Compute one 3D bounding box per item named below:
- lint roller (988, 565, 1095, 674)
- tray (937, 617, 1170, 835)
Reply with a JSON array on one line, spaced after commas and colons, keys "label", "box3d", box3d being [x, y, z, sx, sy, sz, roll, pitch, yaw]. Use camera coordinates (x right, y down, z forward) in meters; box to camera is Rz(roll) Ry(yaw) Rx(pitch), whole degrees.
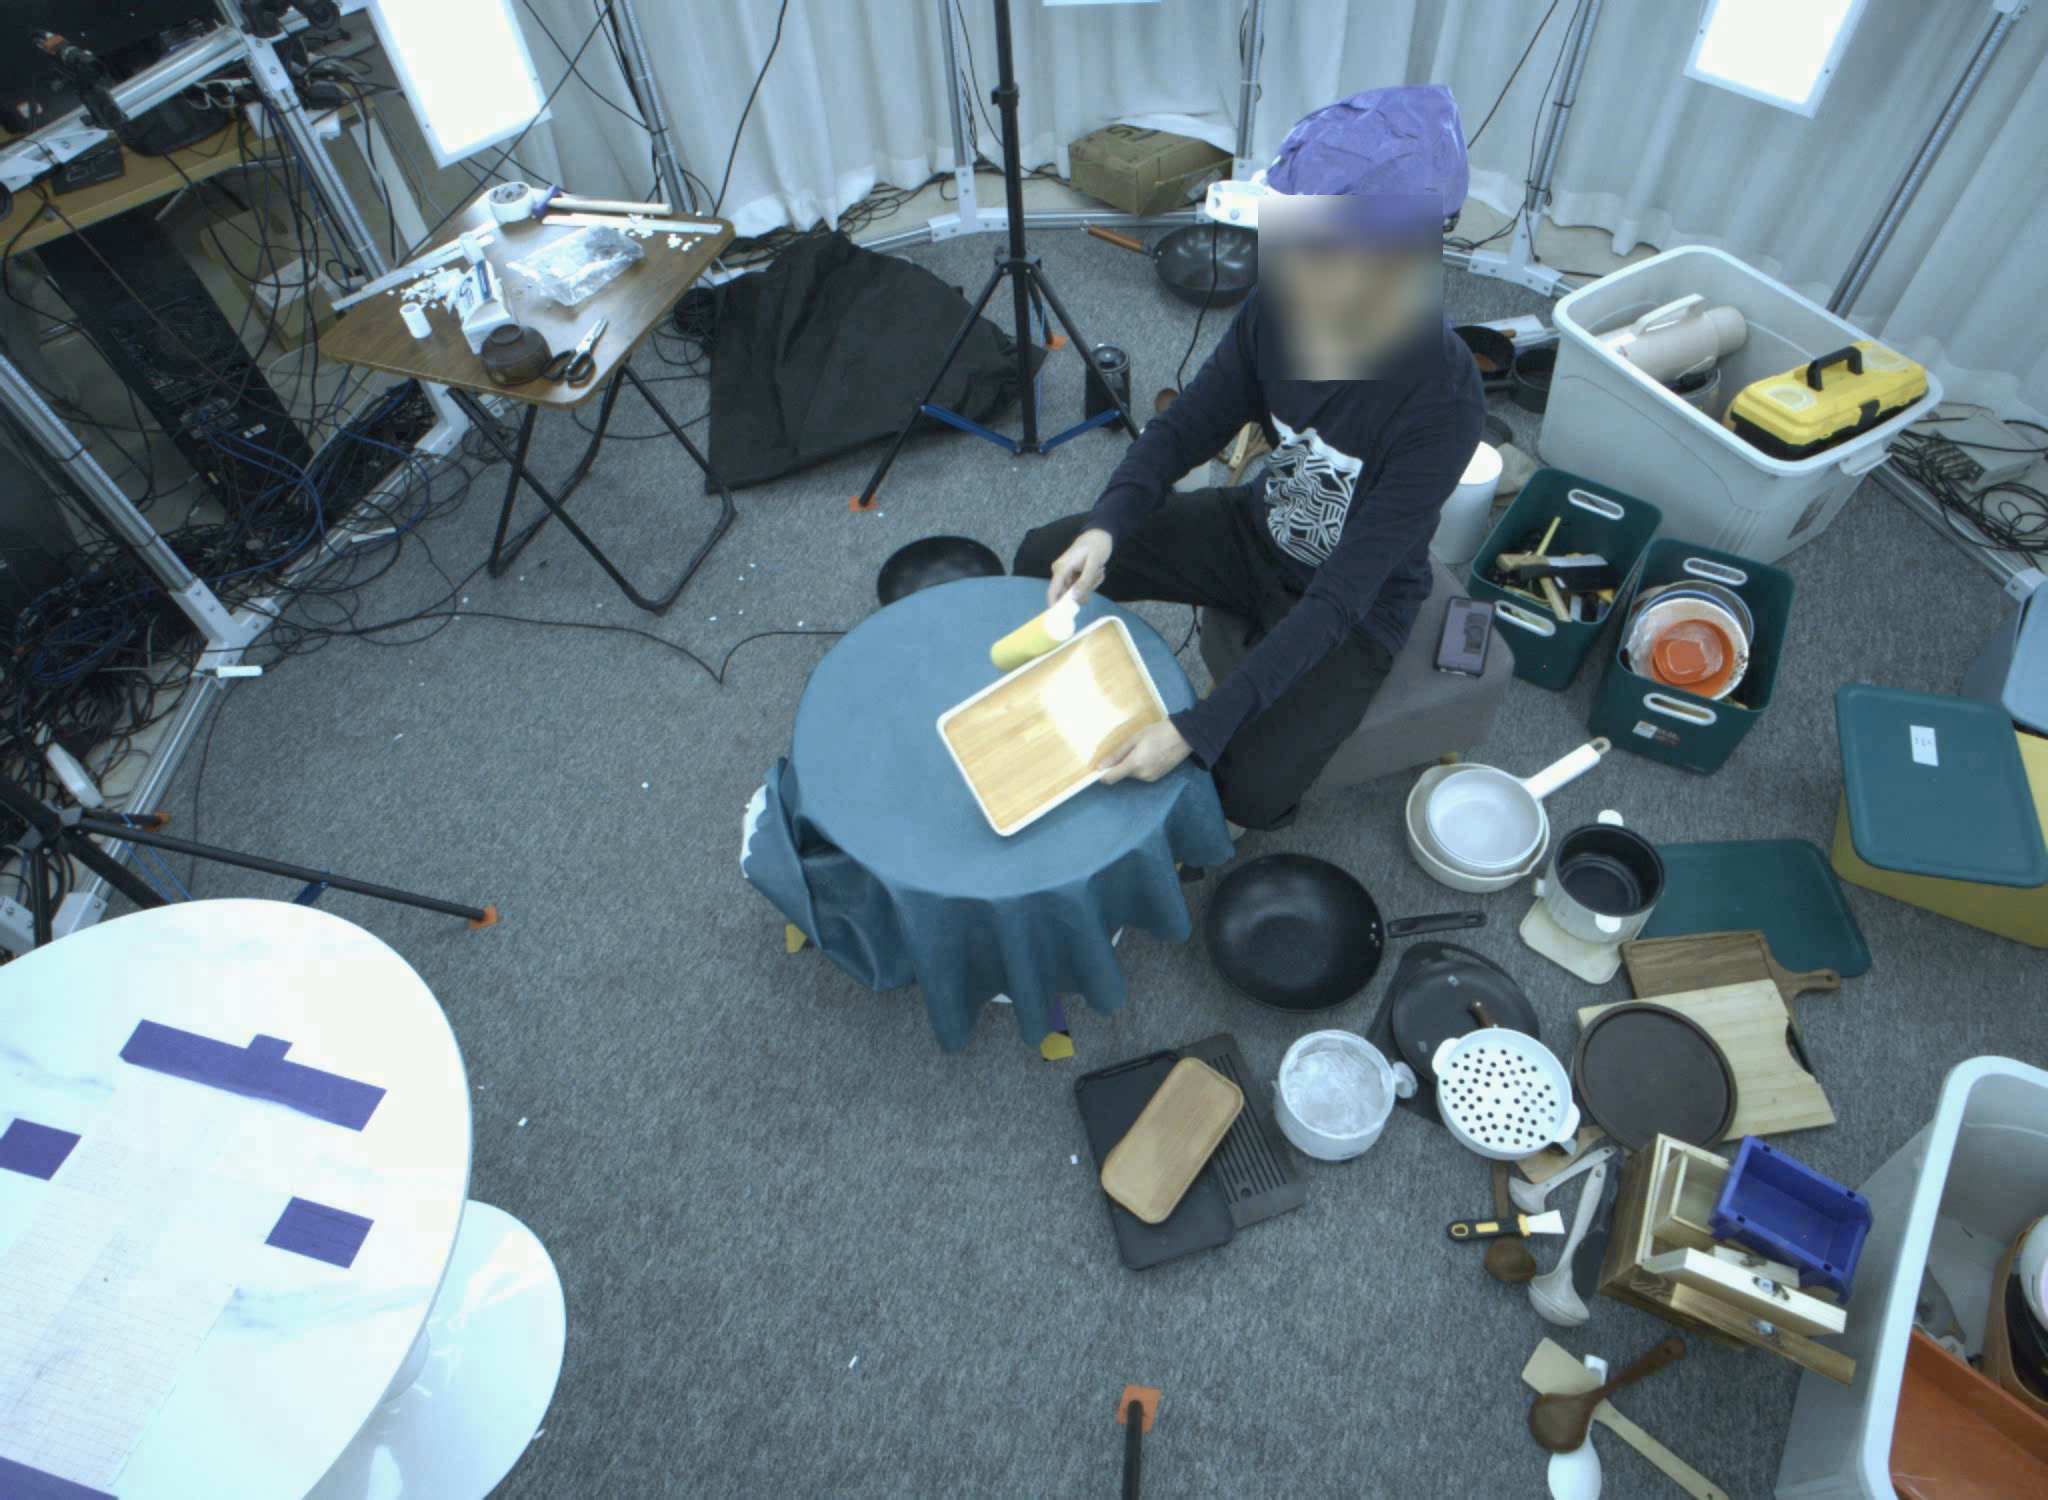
[{"label": "lint roller", "box3d": [0.040, -0.203, 1.731, 0.052, 0.171, 0.192, 38, 62, -18]}, {"label": "tray", "box3d": [0.045, -0.035, 1.706, 0.302, 0.194, 0.027, -33, 19, -14]}]
